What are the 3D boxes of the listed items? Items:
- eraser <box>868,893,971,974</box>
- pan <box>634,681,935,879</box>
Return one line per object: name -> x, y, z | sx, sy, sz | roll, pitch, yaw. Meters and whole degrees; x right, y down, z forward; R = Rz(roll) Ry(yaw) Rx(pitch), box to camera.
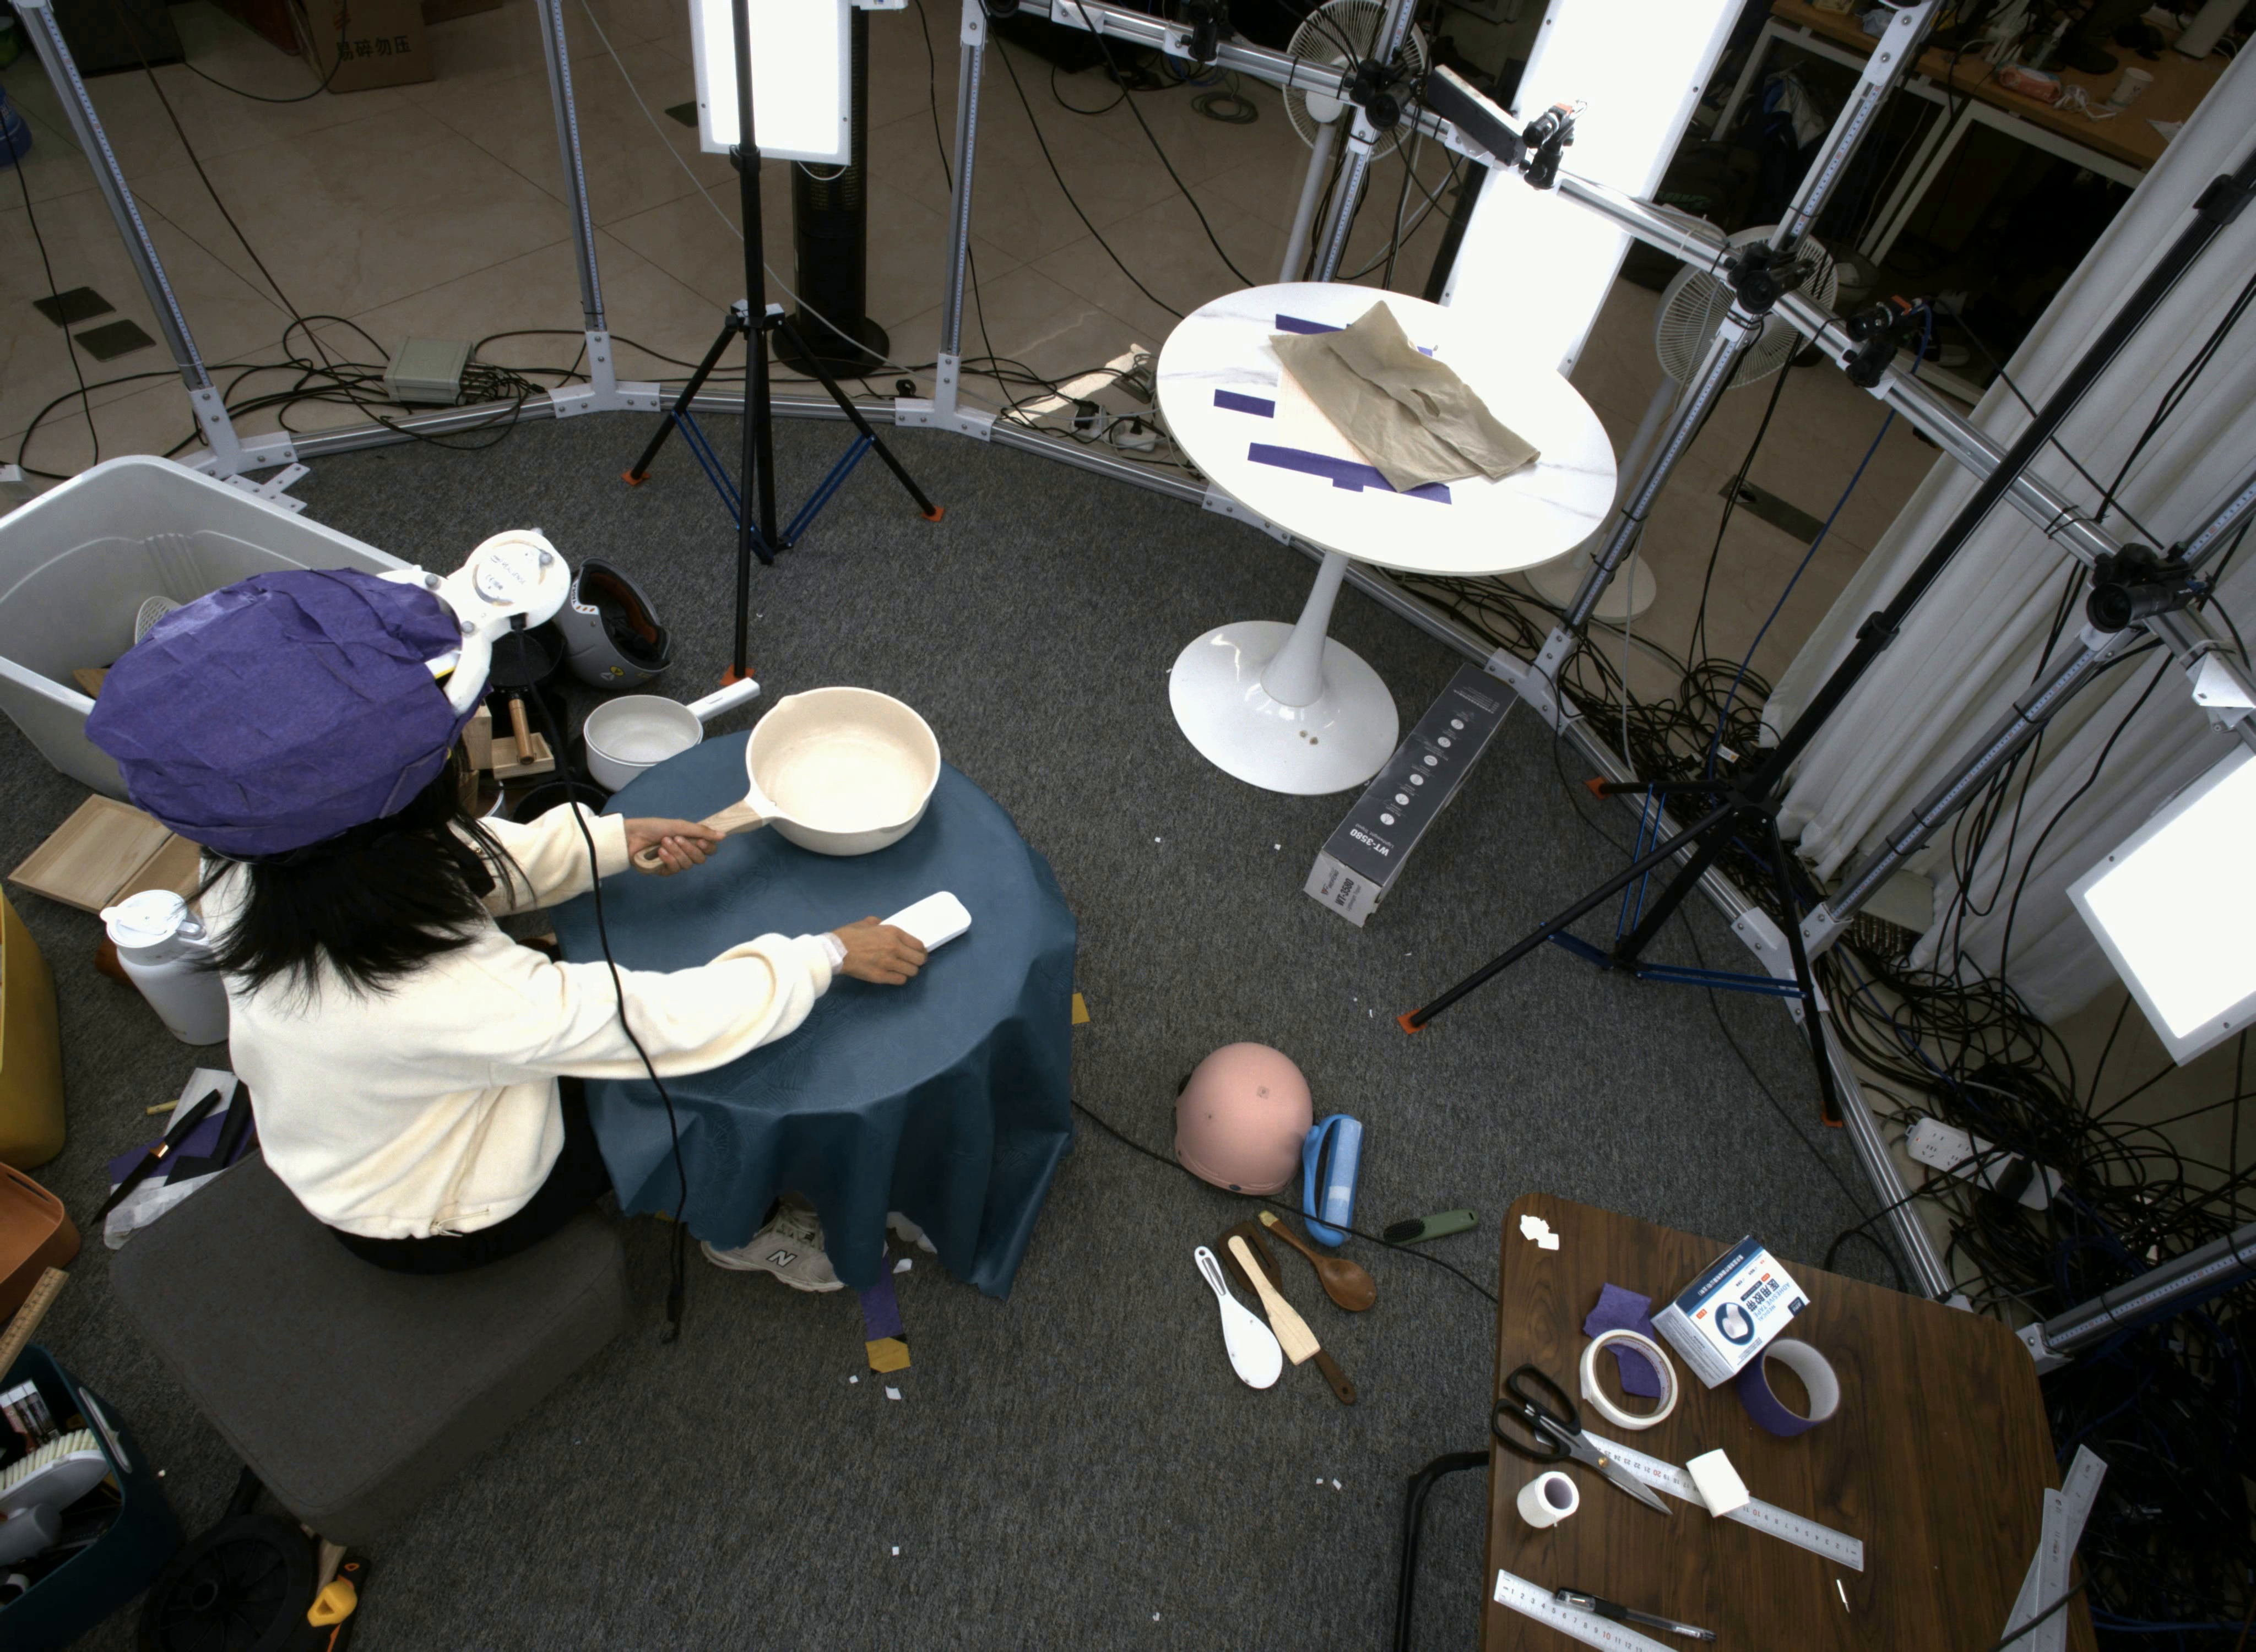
eraser -> -0.263, 0.131, 1.643 | 0.132, 0.035, 0.062 | -29, 63, -31
pan -> -0.445, -0.031, 1.670 | 0.258, 0.104, 0.436 | 42, 54, 16
